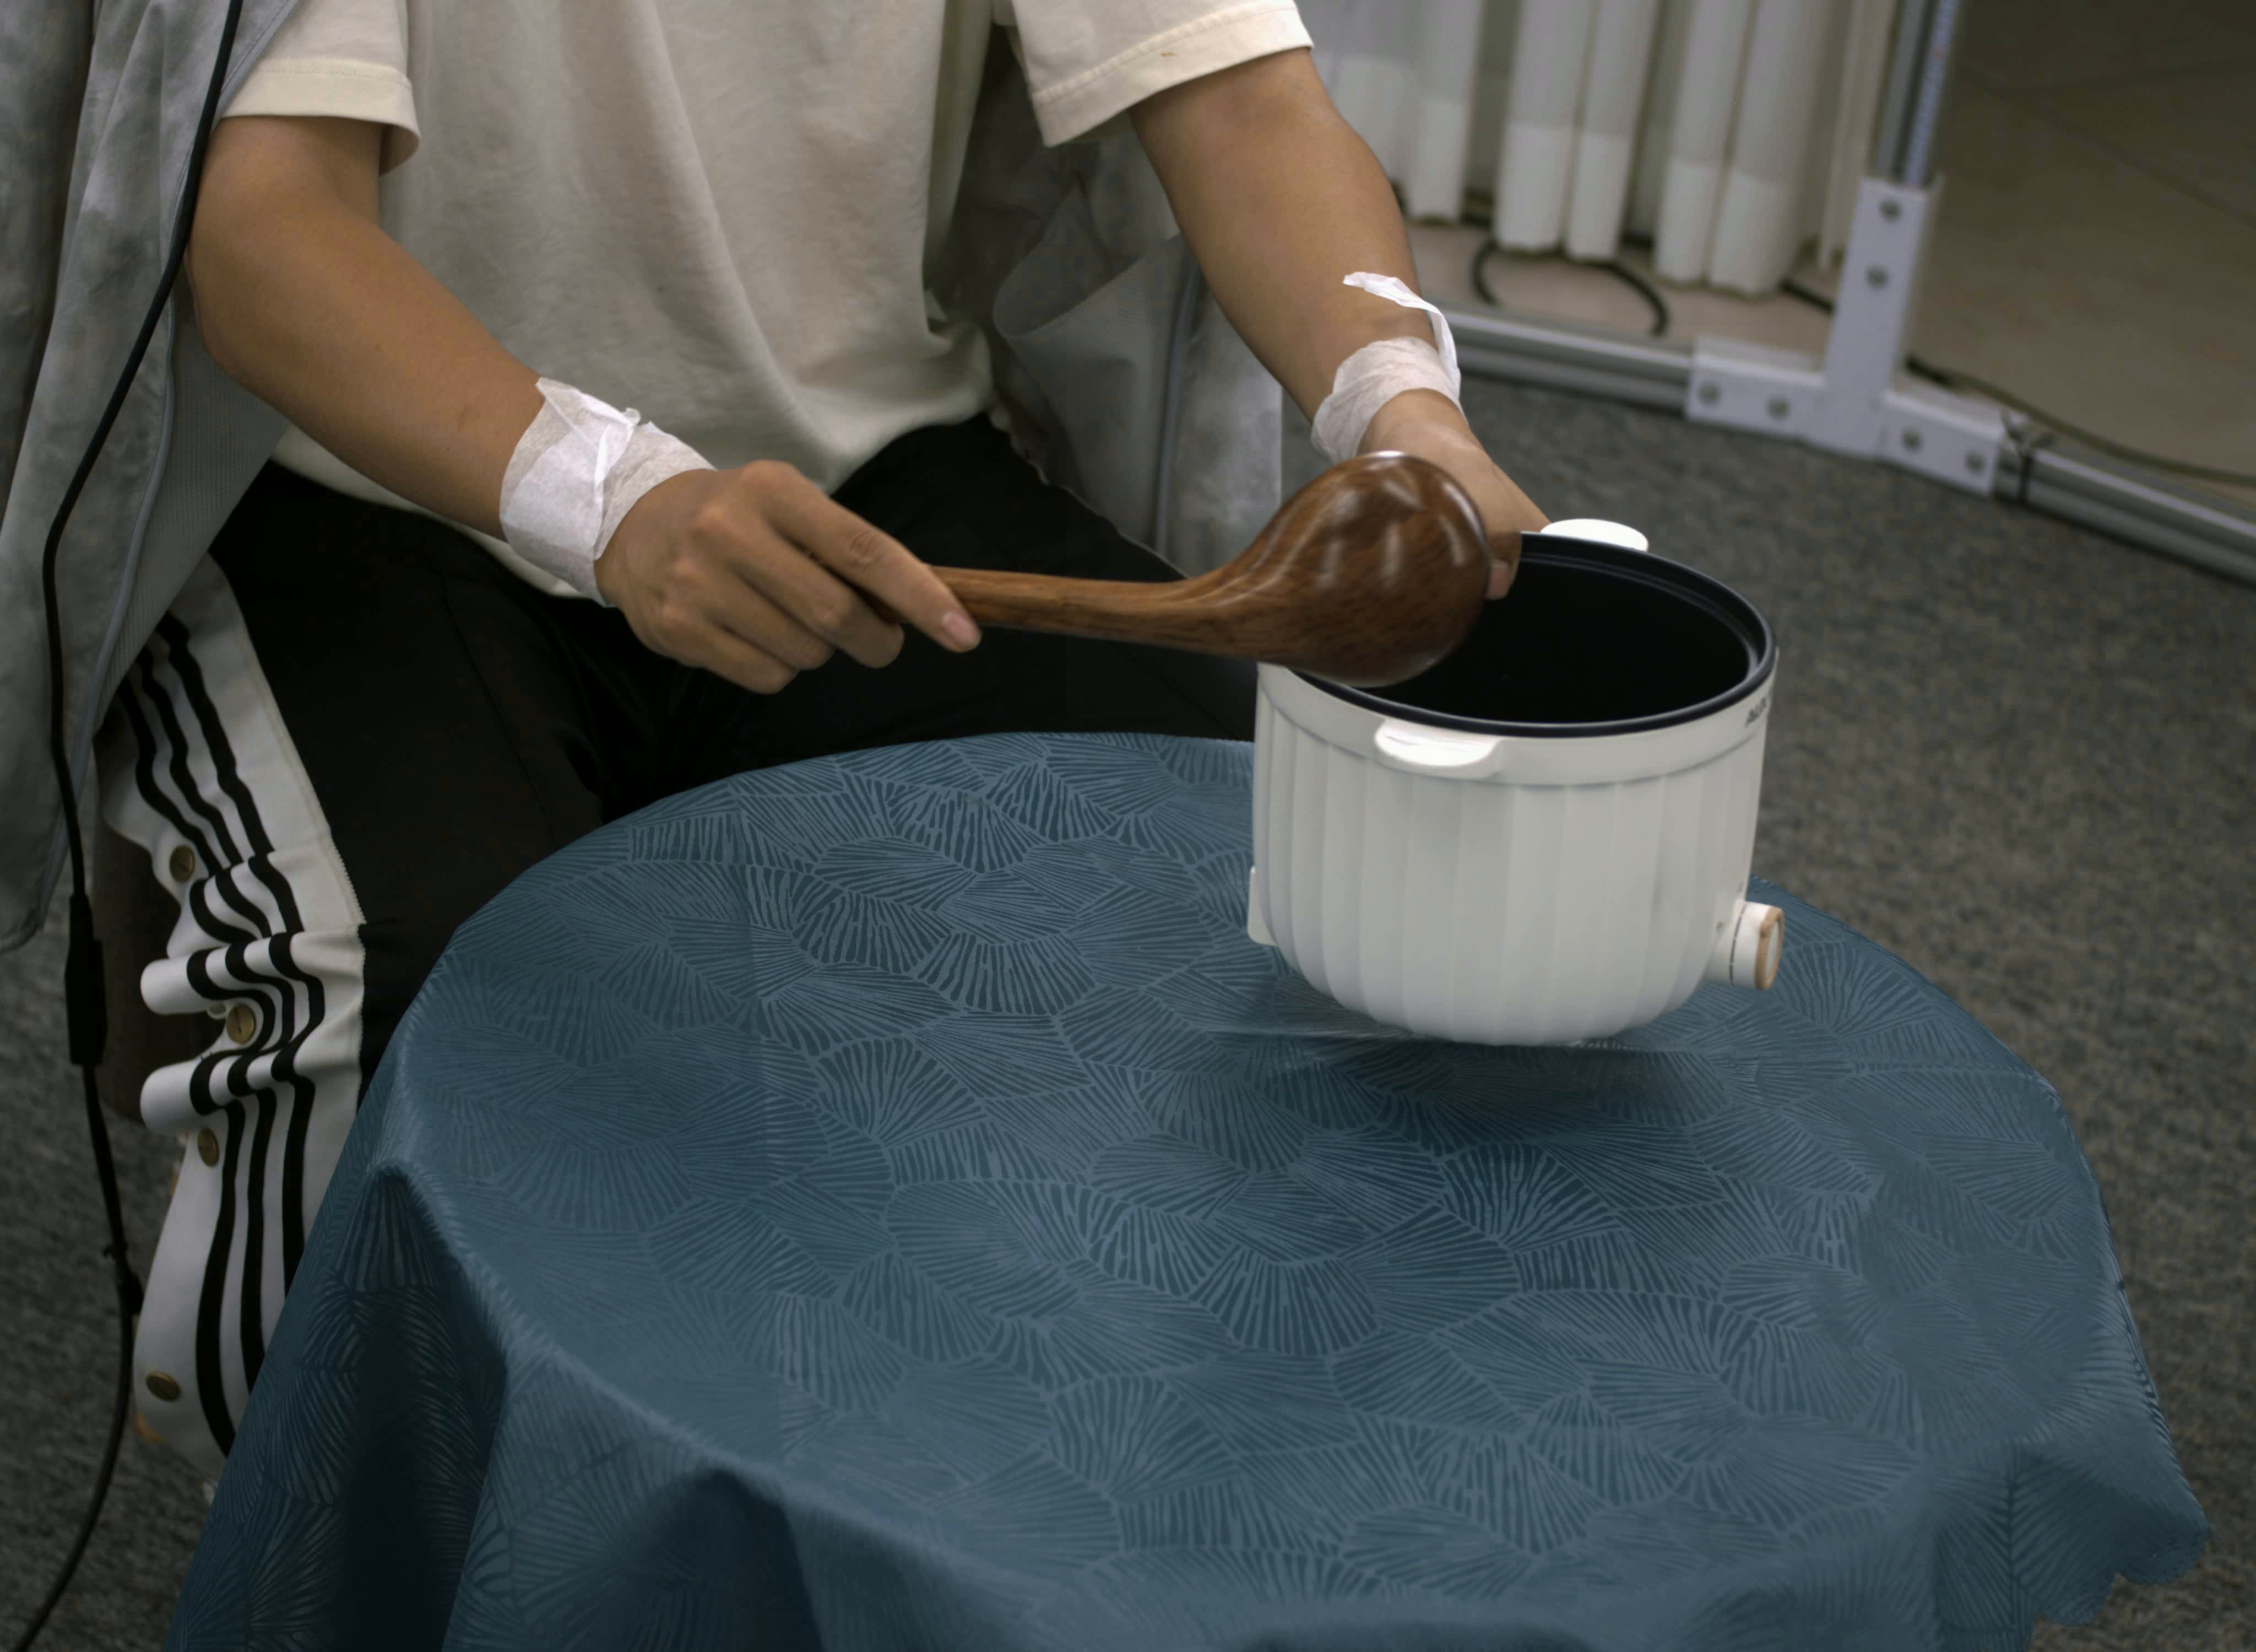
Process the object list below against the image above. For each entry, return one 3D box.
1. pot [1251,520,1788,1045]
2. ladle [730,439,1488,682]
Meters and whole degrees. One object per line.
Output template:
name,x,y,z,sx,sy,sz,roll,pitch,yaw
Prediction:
pot,0.139,-0.010,1.882,0.191,0.142,0.240,7,25,19
ladle,-0.008,-0.089,1.792,0.275,0.081,0.076,3,31,35
